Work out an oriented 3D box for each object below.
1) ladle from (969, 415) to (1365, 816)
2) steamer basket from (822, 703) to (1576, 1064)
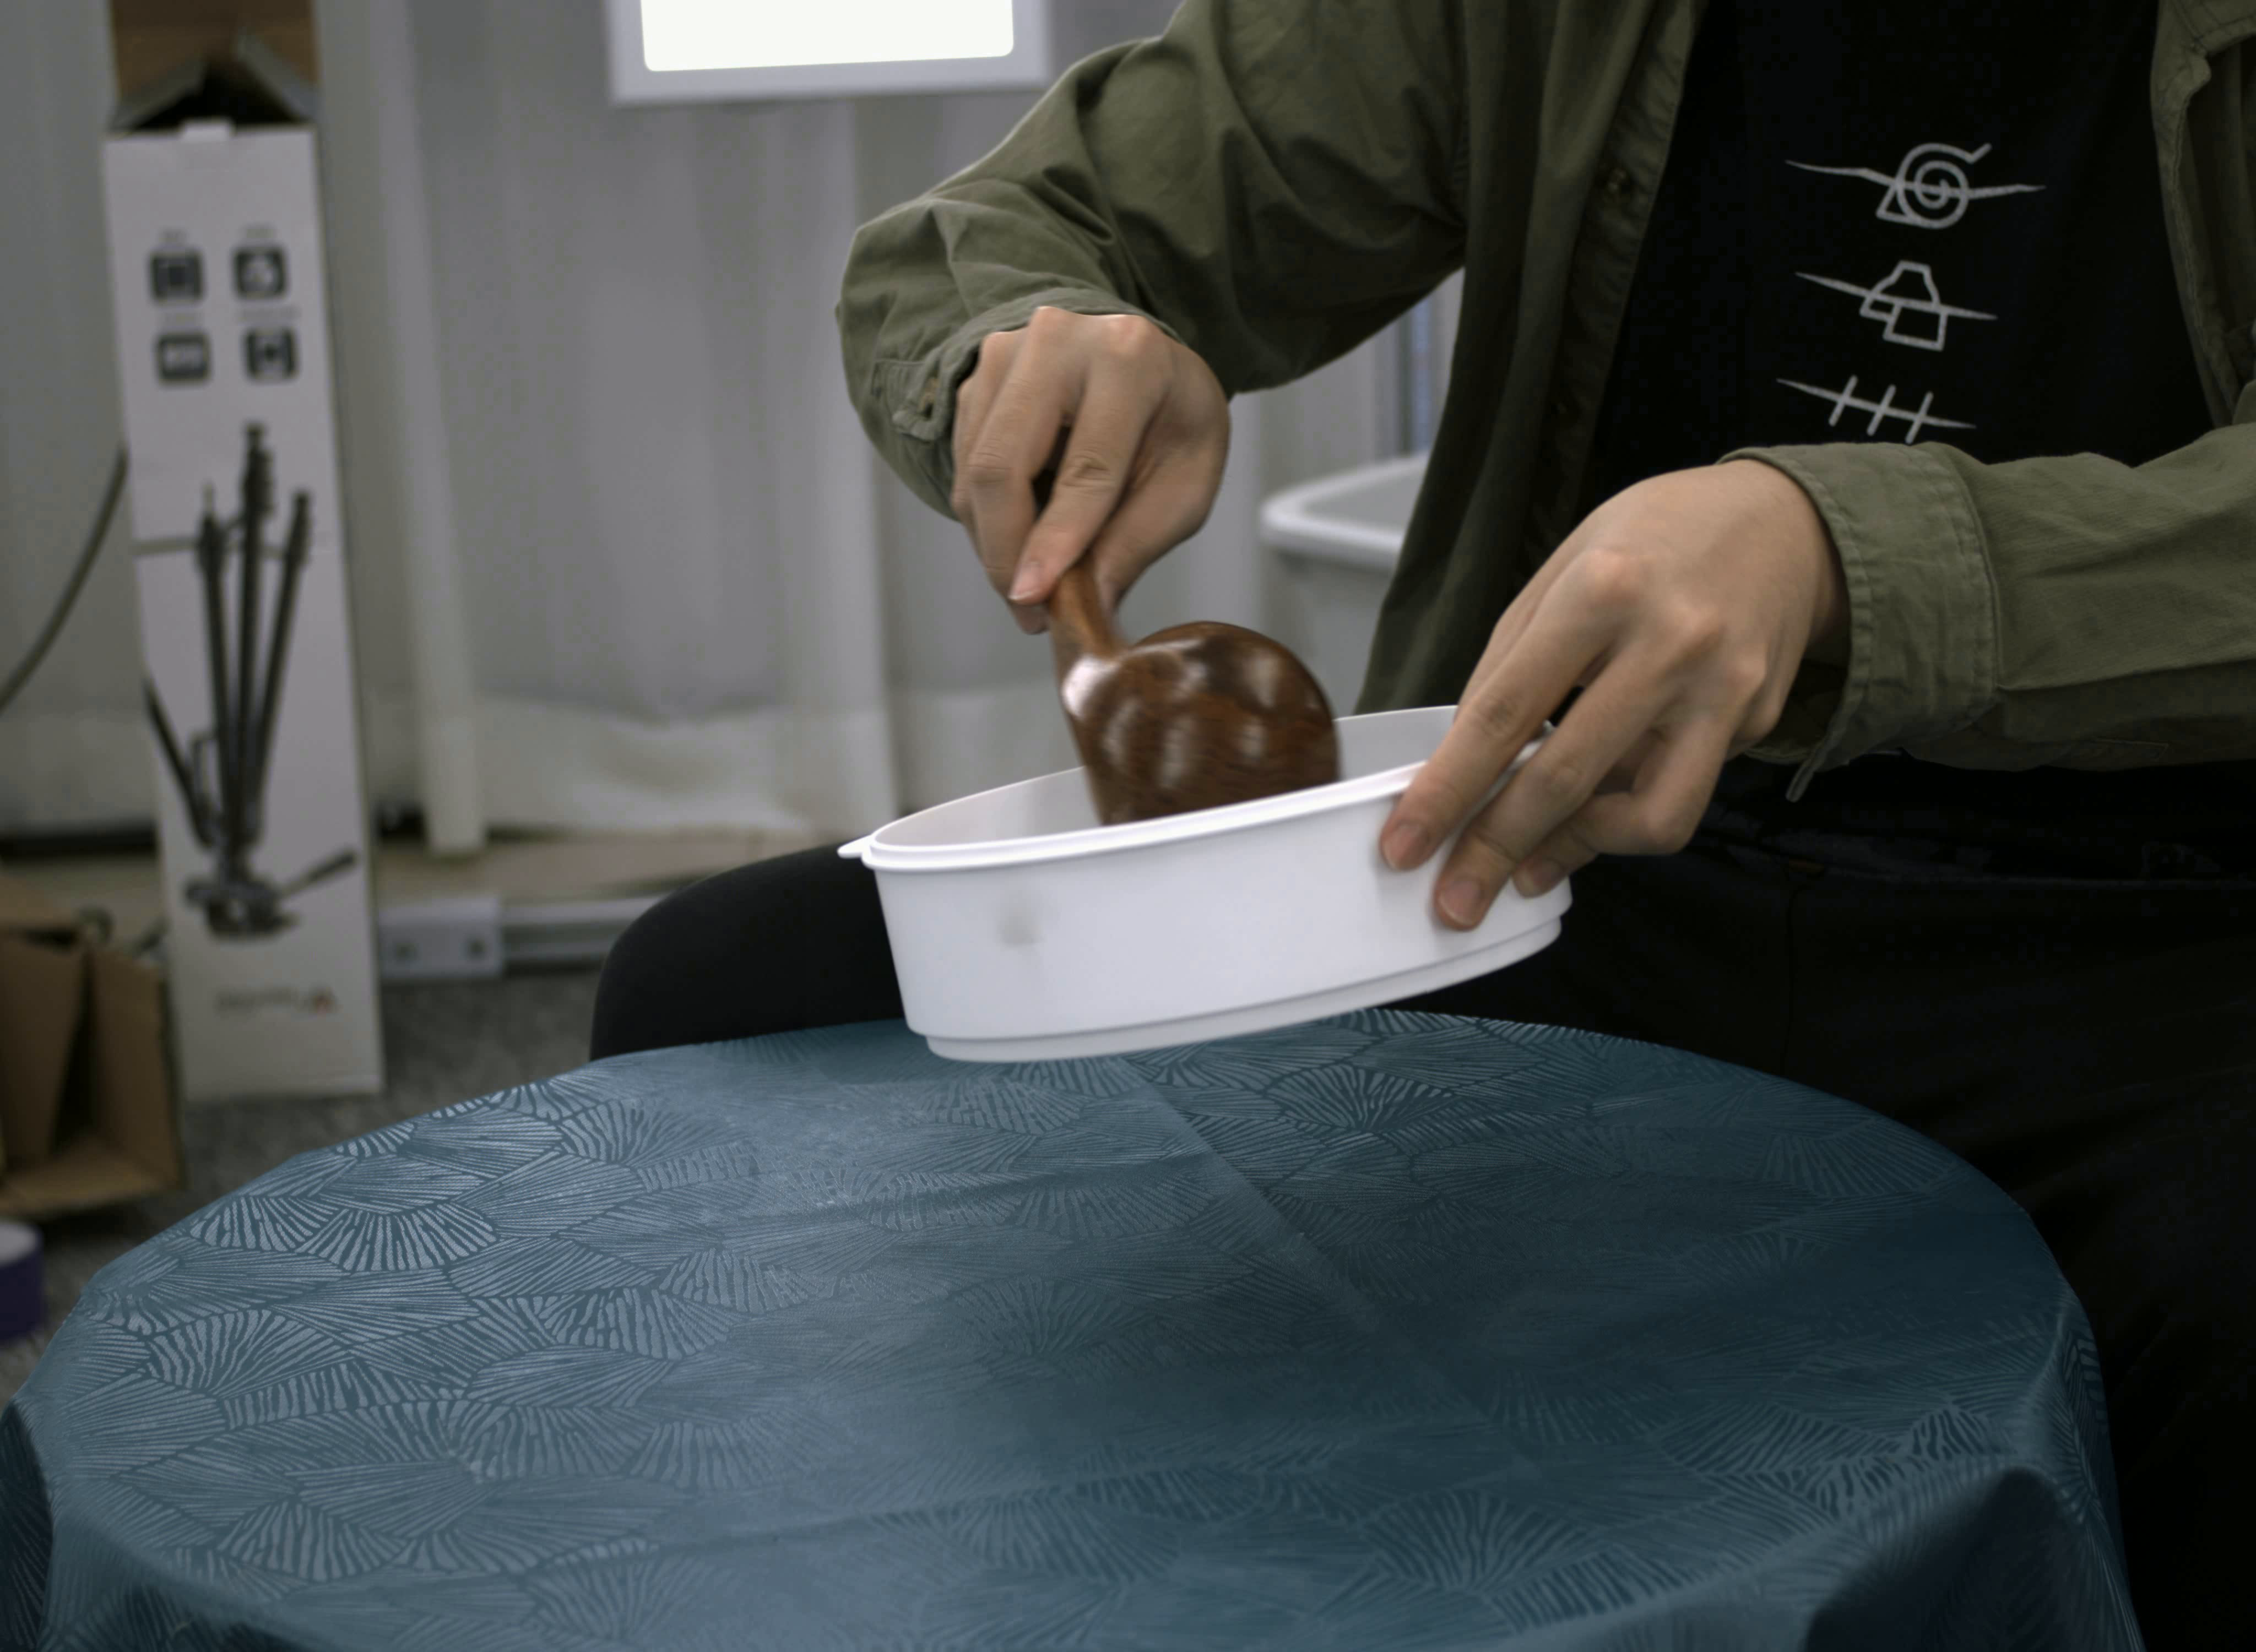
[{"bbox_3d":[0.010,-0.063,1.700,0.076,0.081,0.277,27,15,-20],"label":"ladle"},{"bbox_3d":[0.023,0.018,1.567,0.230,0.069,0.202,-7,7,29],"label":"steamer basket"}]
